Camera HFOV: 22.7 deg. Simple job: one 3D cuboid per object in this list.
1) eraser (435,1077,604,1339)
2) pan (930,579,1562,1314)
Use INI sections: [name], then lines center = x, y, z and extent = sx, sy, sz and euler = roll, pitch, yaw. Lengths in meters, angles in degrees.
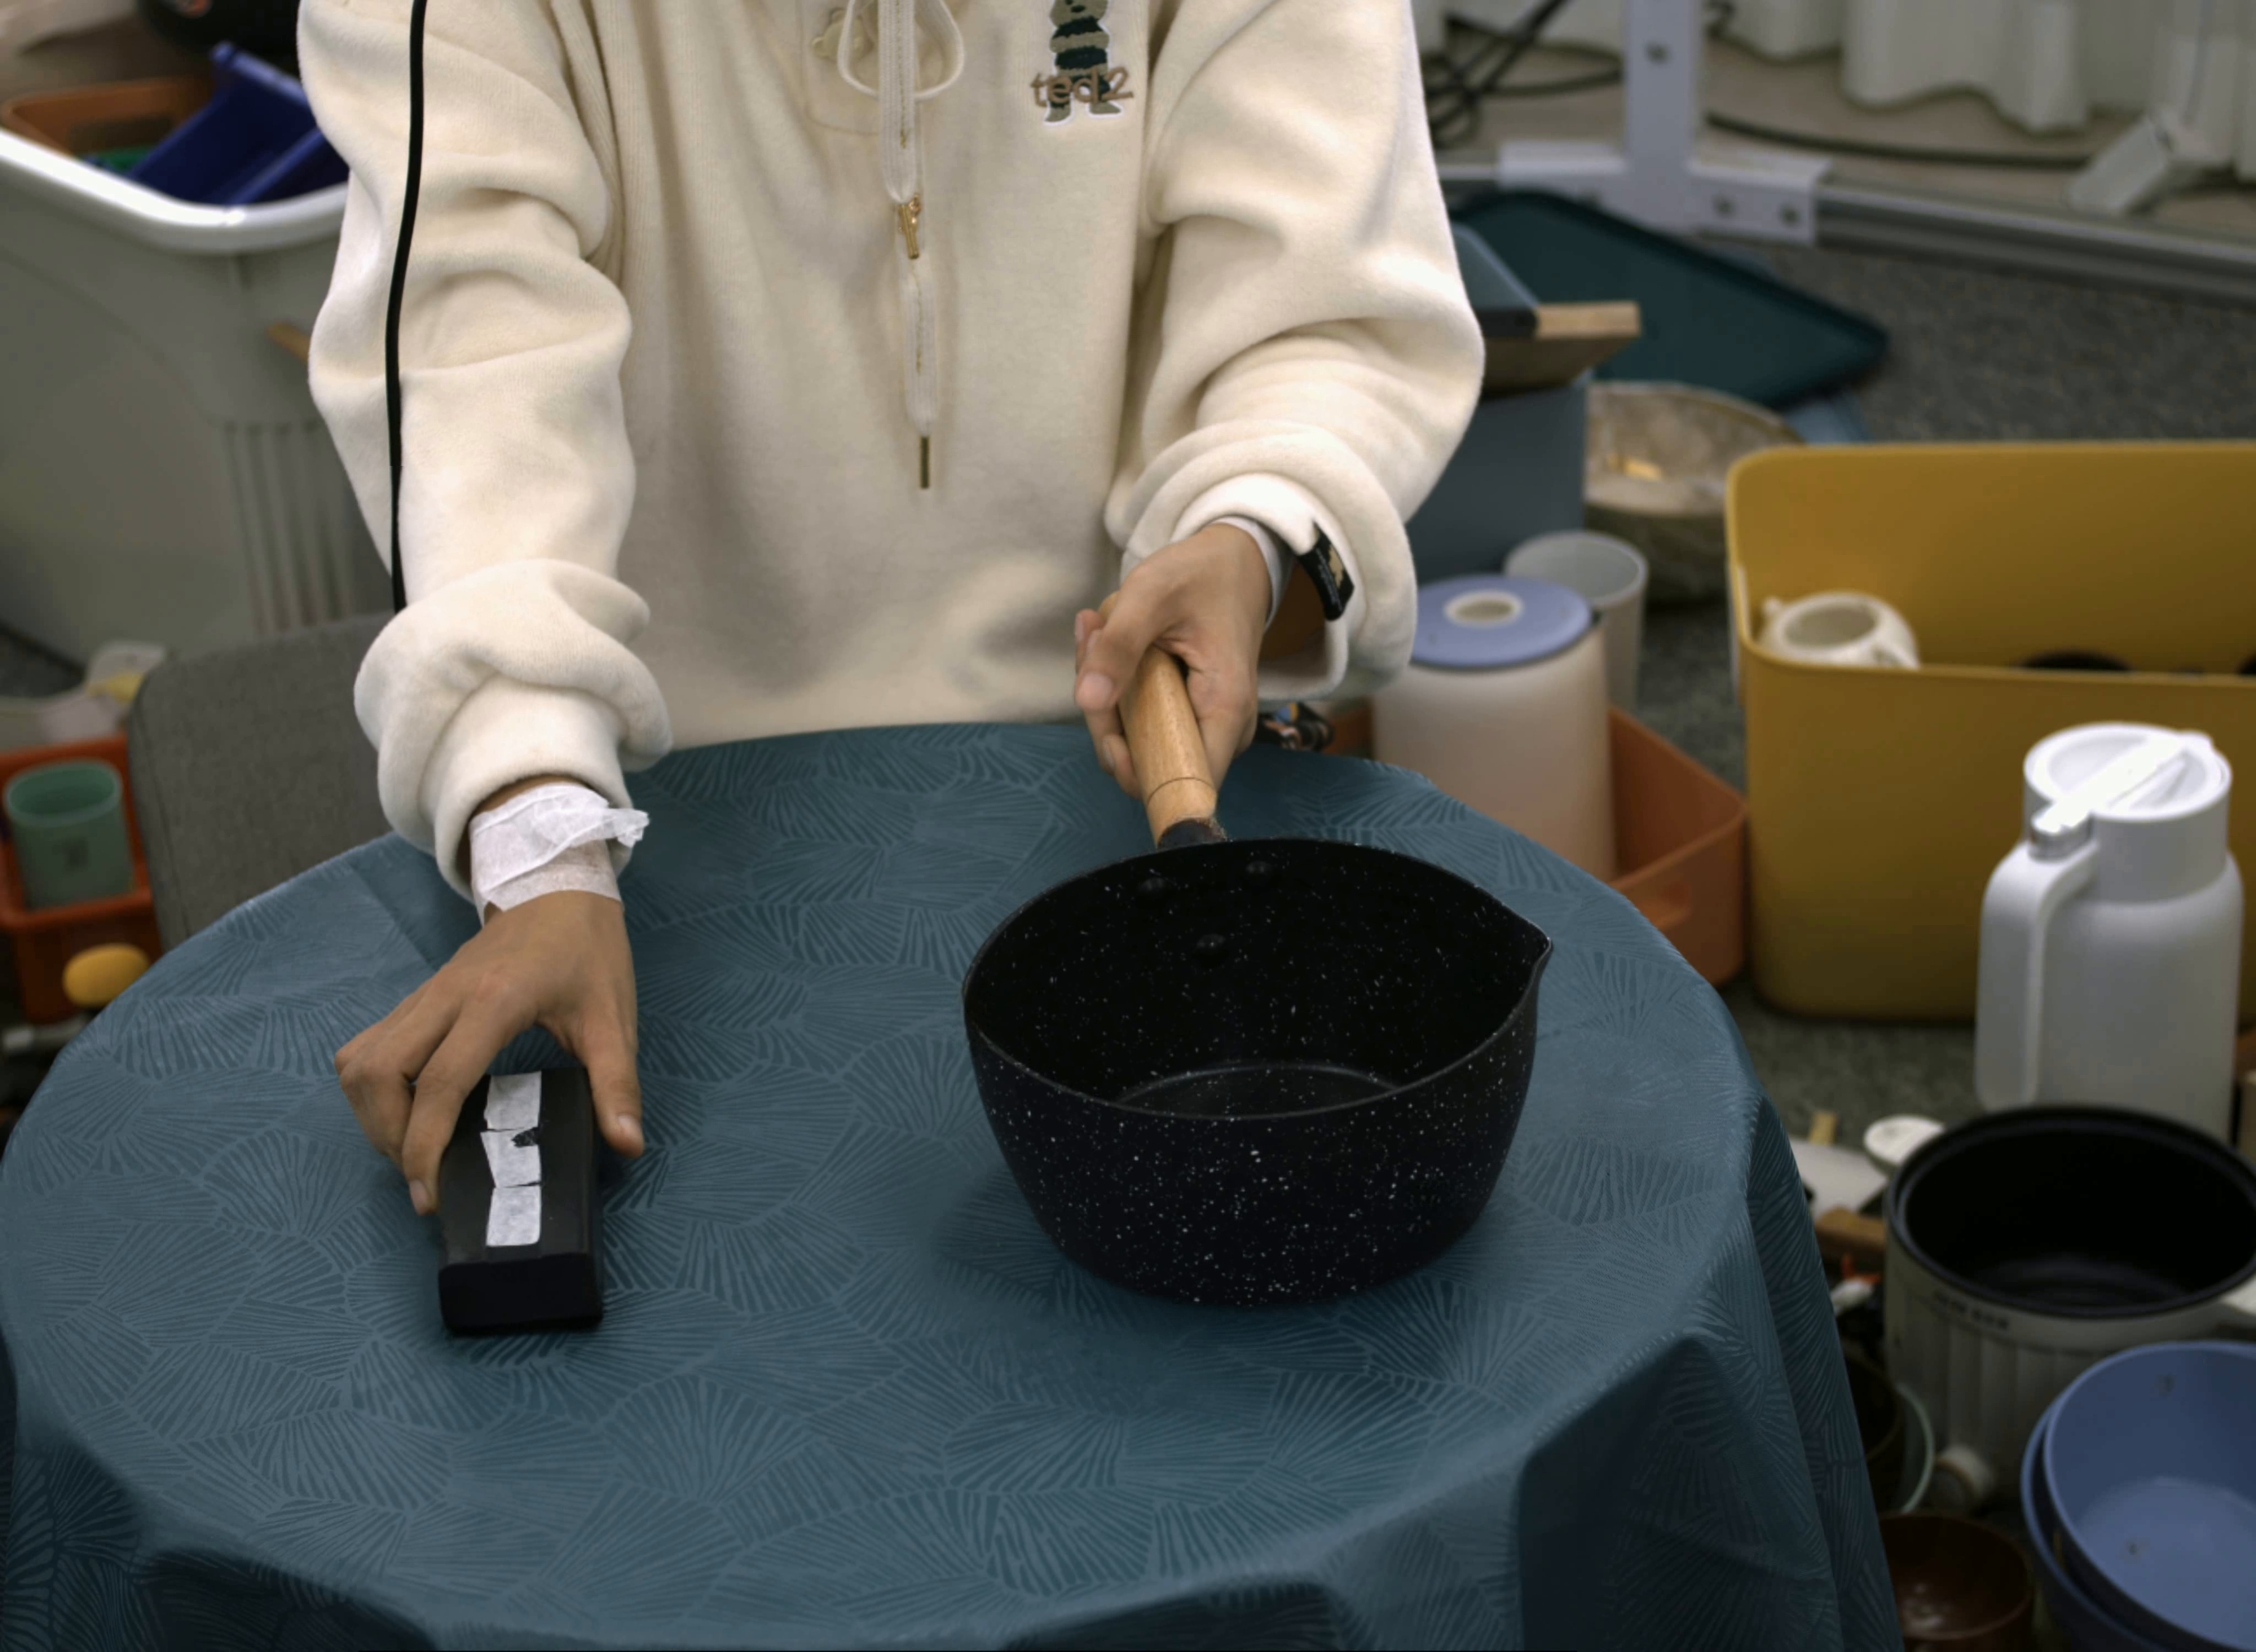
[eraser]
center = -0.198, 0.125, 1.845
extent = 0.053, 0.030, 0.127
euler = -4, 26, -3
[pan]
center = 0.028, 0.037, 1.905
extent = 0.207, 0.107, 0.347
euler = -8, 29, -7
